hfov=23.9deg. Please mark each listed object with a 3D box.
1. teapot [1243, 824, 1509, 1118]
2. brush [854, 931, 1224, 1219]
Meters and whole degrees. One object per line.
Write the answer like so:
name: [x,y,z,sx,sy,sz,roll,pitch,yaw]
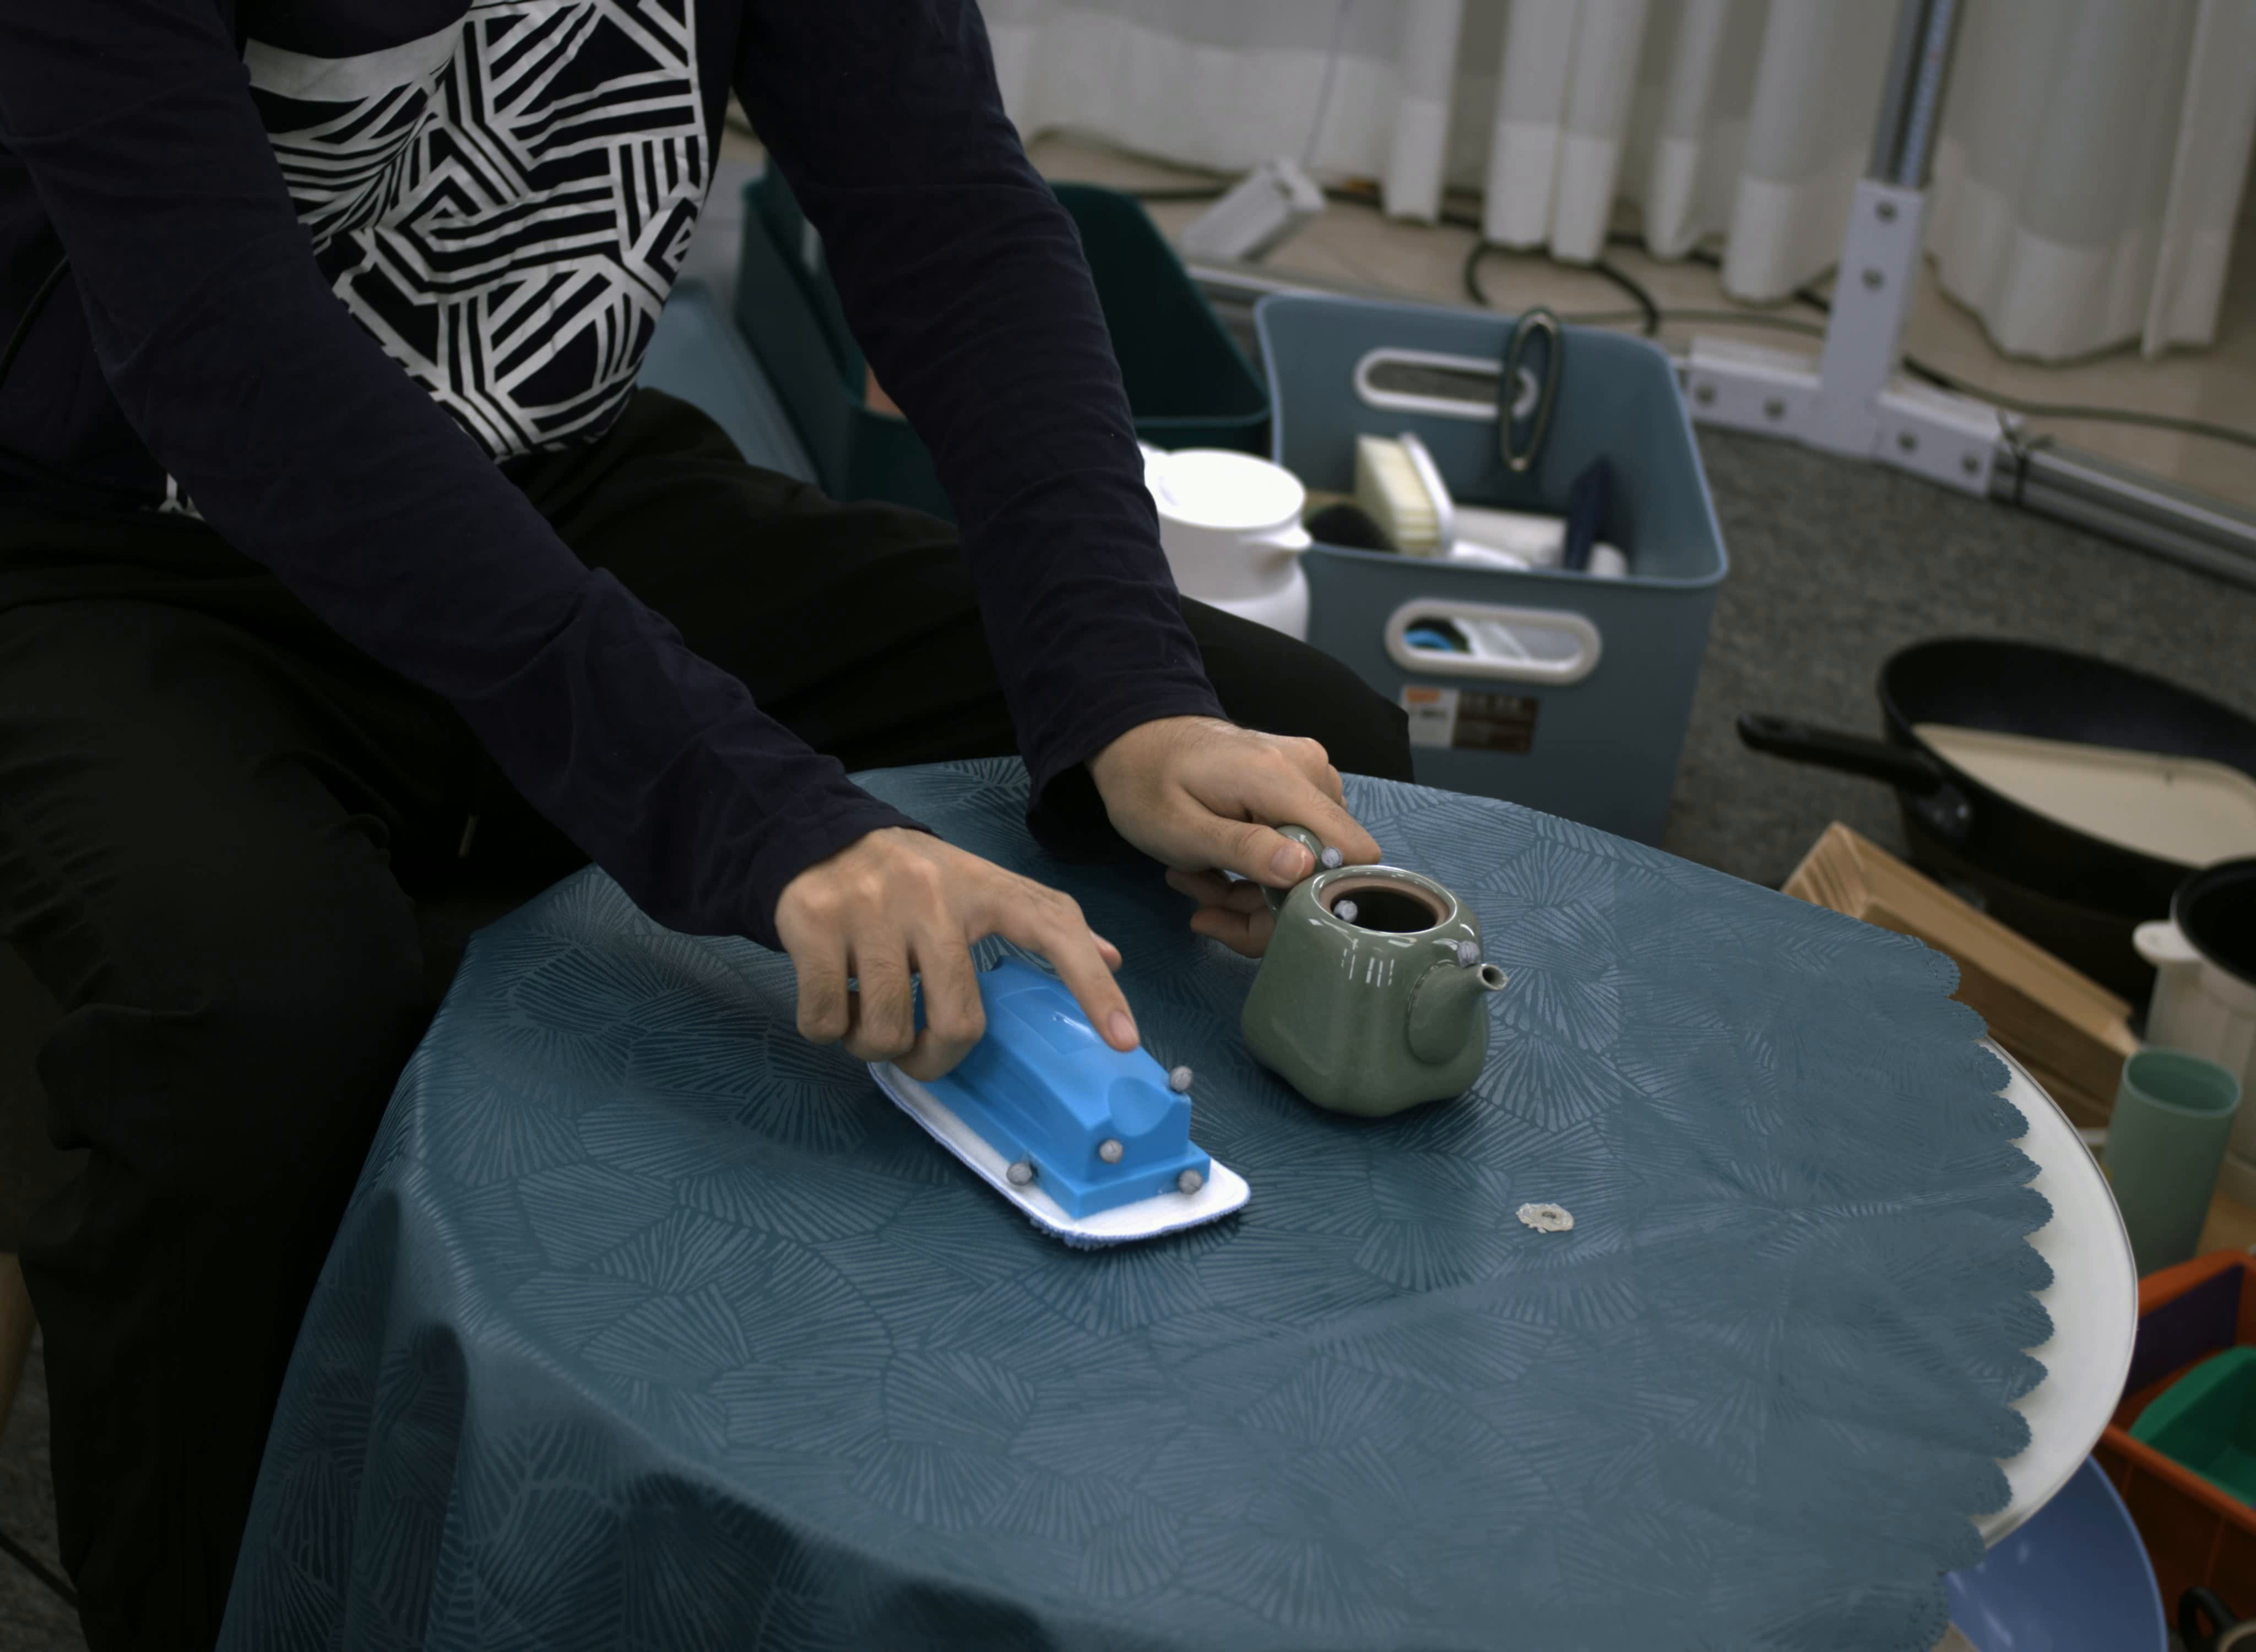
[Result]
teapot: [0.087,0.055,1.879,0.079,0.075,0.133,-13,32,-33]
brush: [-0.028,0.080,1.818,0.083,0.056,0.145,-8,33,-32]
